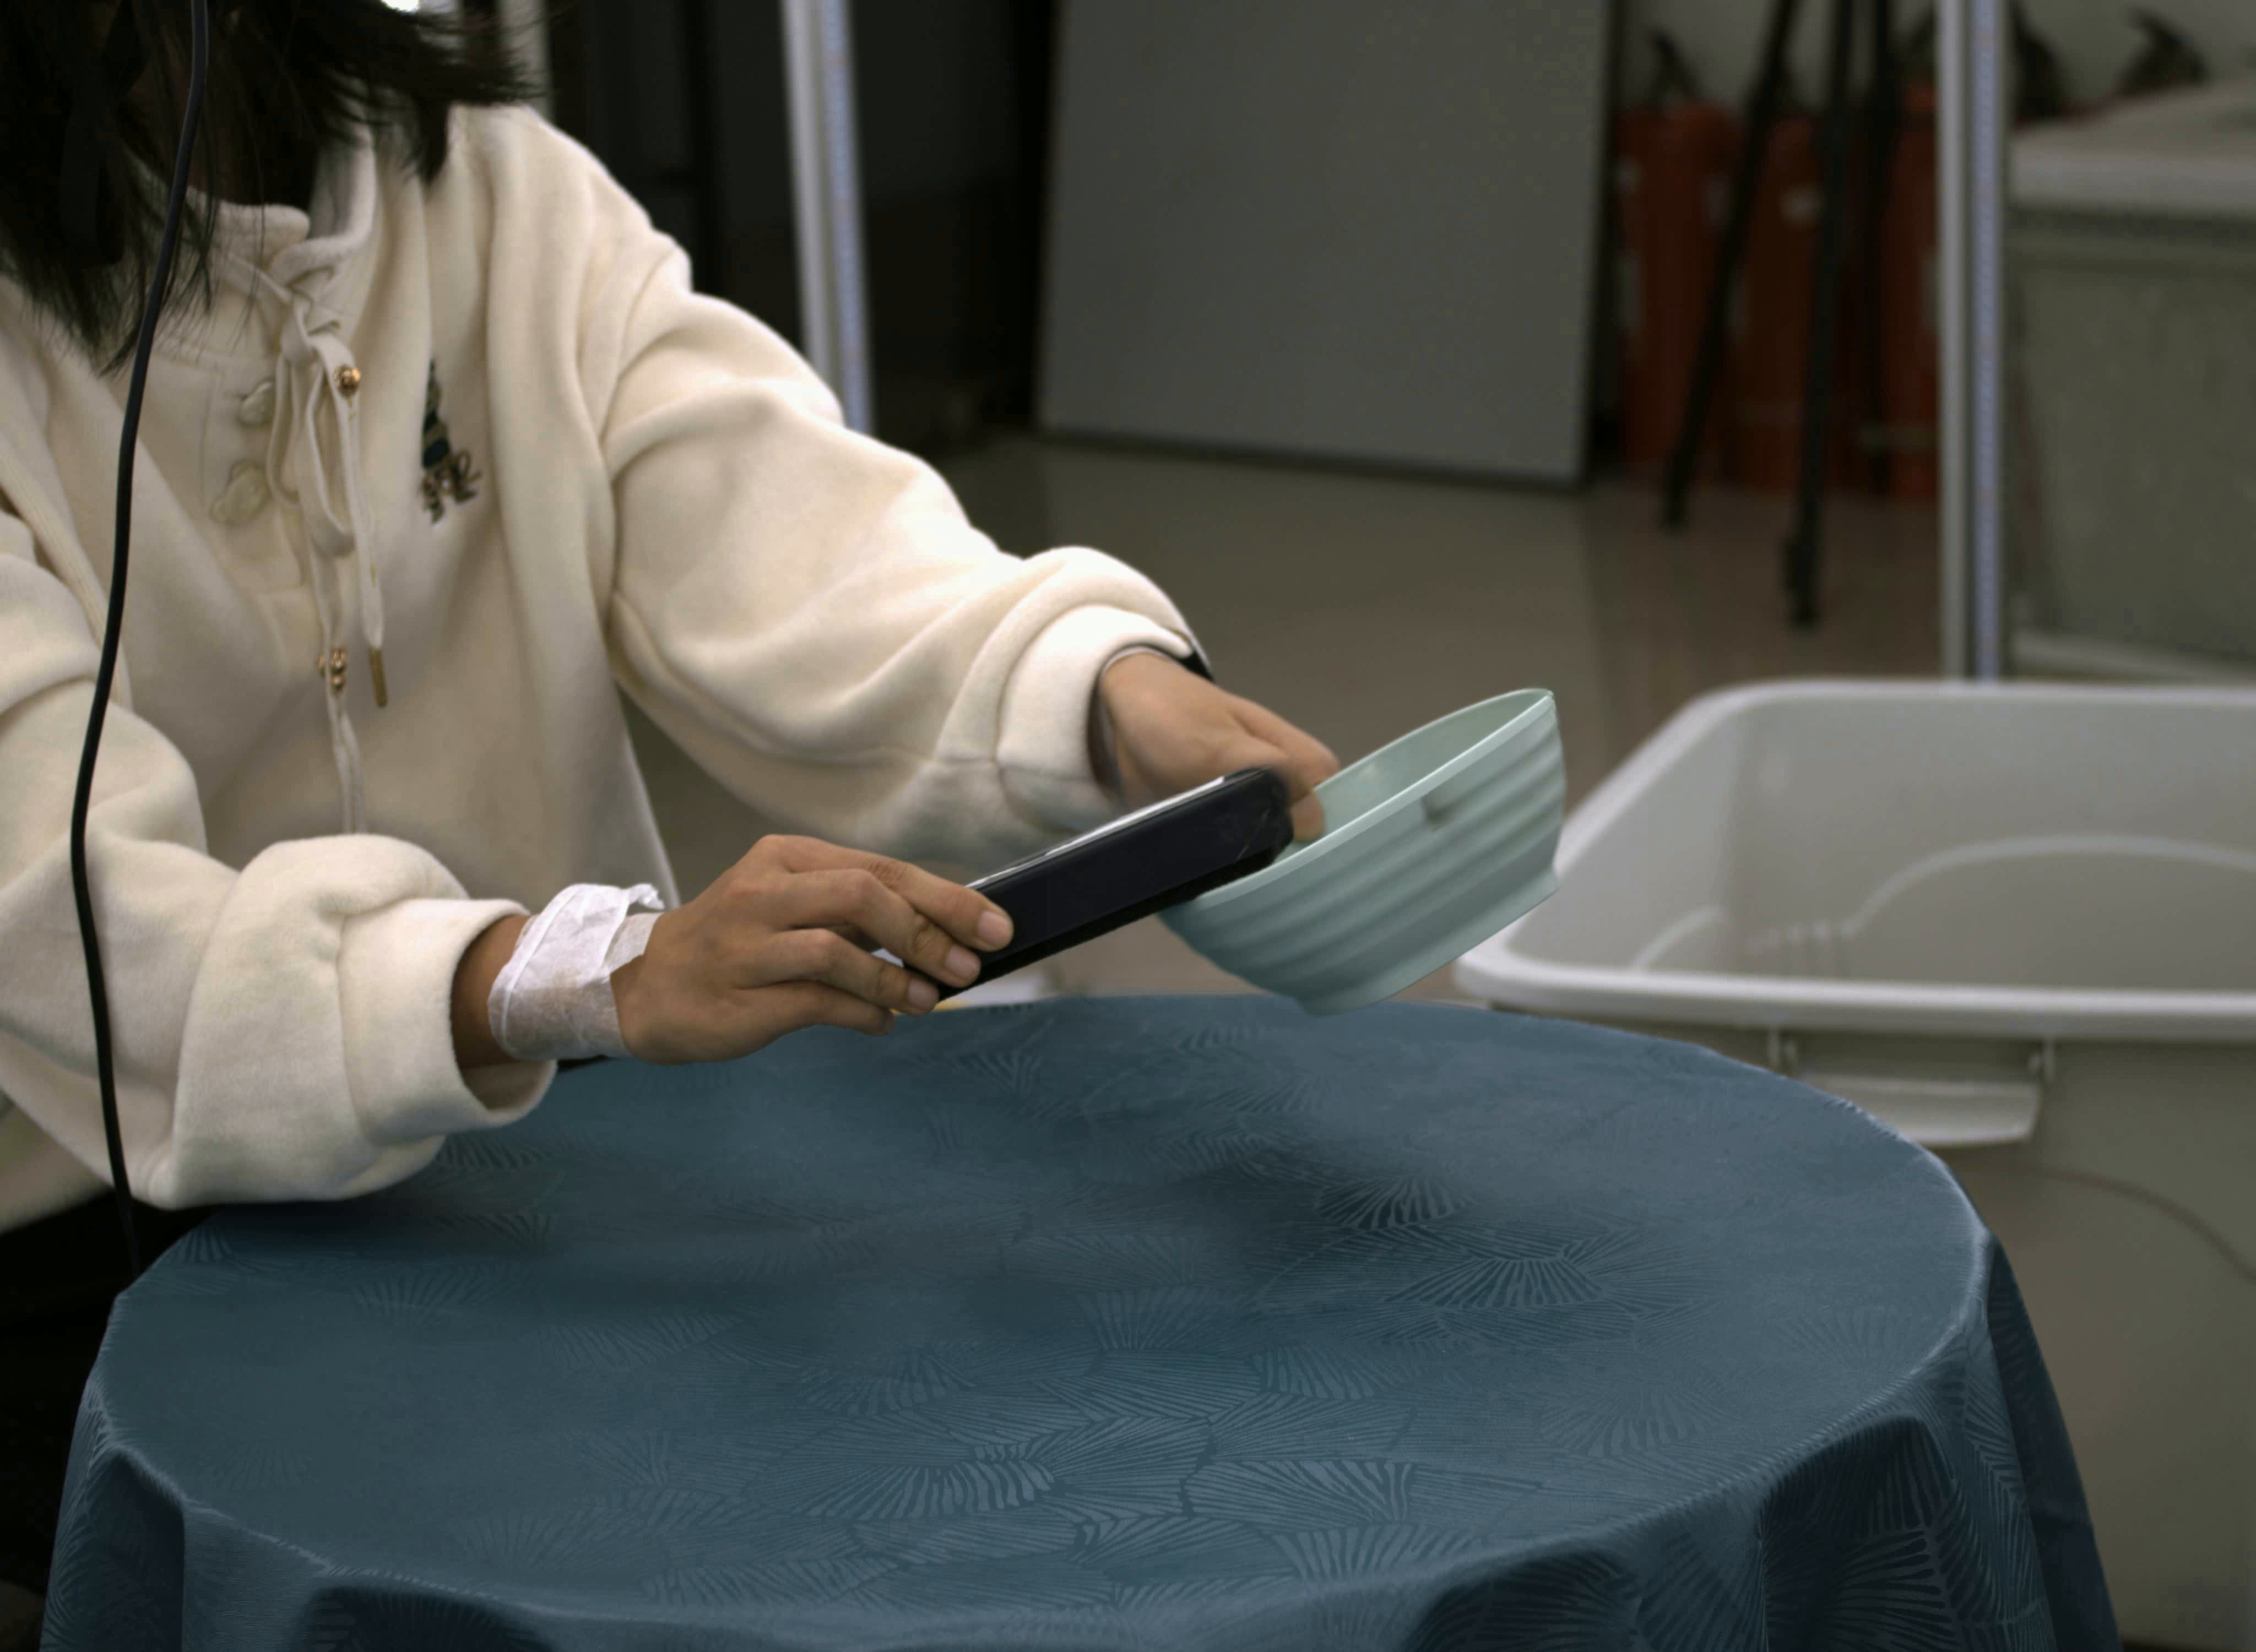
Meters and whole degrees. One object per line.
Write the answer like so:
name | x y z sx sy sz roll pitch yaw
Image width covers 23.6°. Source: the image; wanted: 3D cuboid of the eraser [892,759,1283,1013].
eraser | -0.011 0.018 1.696 0.125 0.030 0.053 -26 2 10

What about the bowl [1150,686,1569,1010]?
bowl | 0.083 0.013 1.708 0.150 0.059 0.151 -27 5 1
